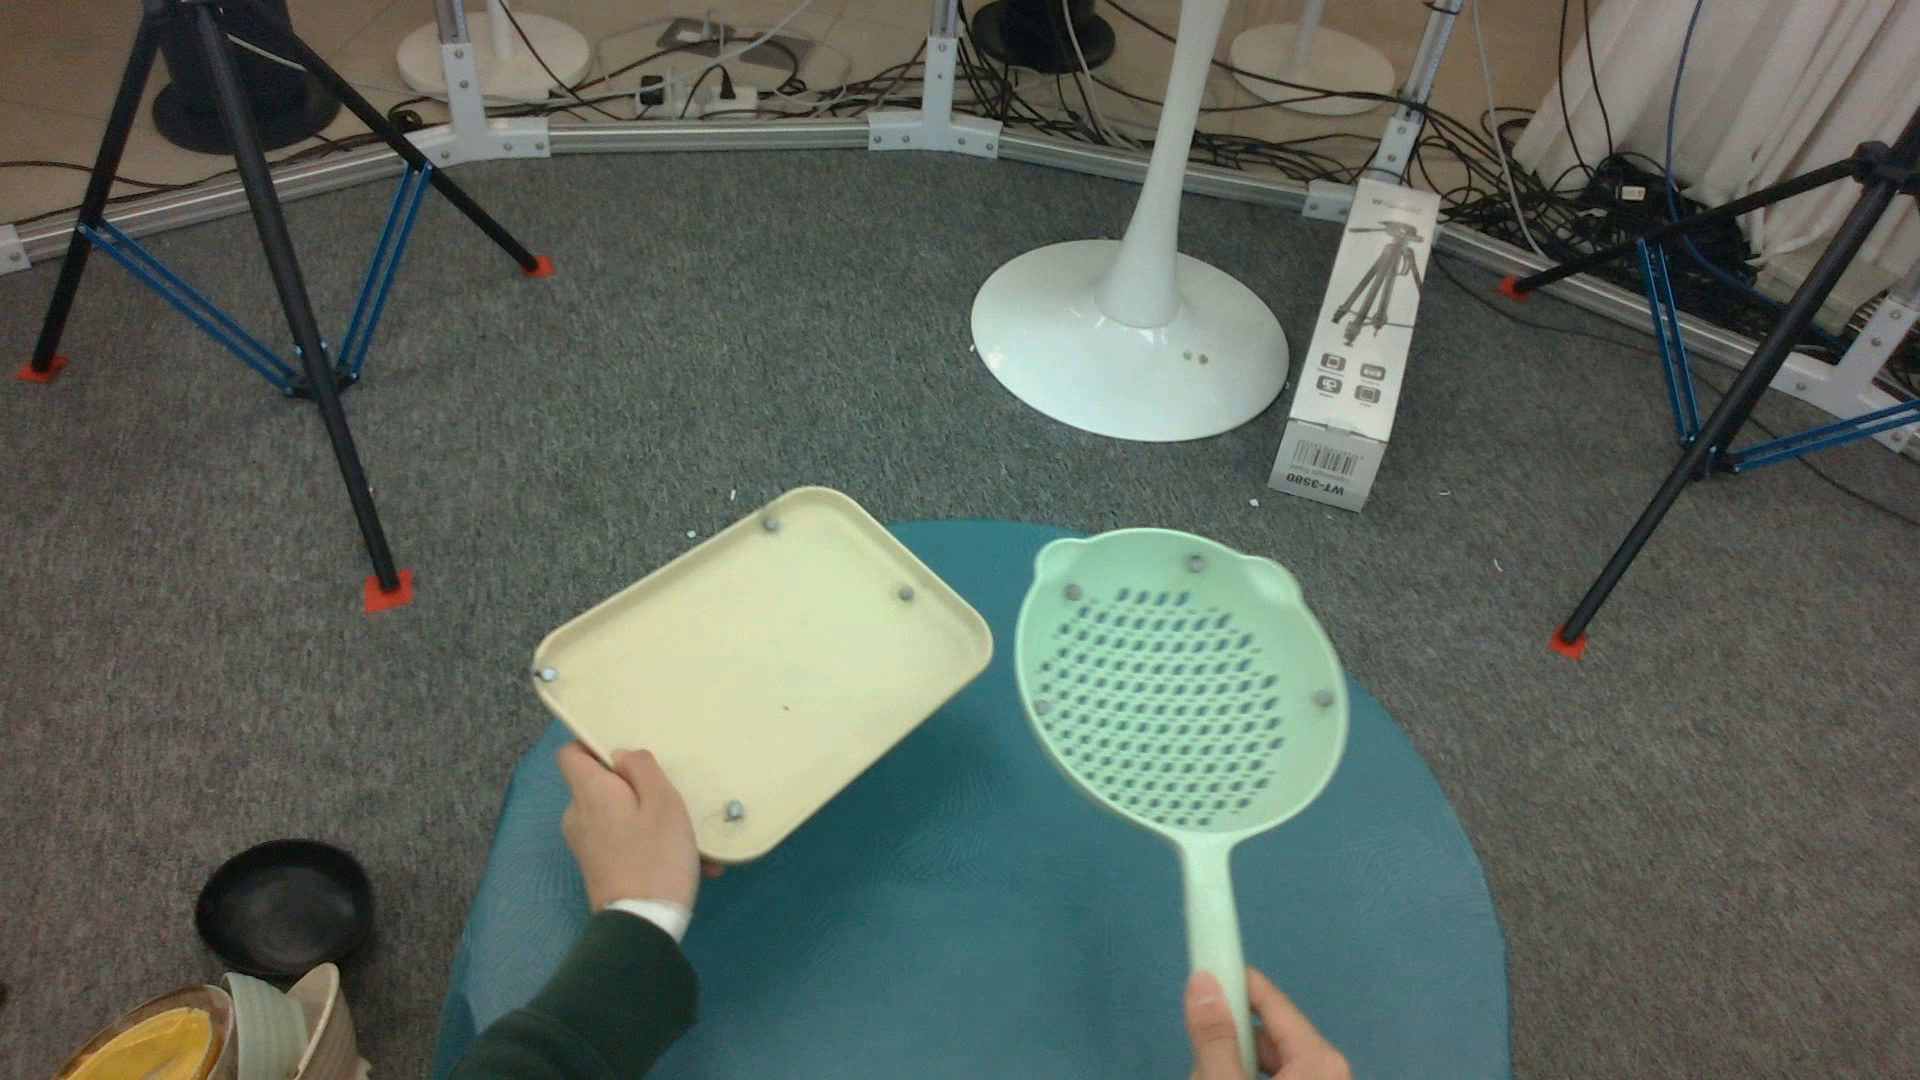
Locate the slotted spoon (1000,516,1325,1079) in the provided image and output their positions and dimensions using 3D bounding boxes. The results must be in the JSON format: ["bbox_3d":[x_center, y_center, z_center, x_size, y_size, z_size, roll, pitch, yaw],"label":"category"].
[{"bbox_3d":[0.101,0.148,0.640,0.169,0.075,0.360,5,49,-10],"label":"slotted spoon"}]

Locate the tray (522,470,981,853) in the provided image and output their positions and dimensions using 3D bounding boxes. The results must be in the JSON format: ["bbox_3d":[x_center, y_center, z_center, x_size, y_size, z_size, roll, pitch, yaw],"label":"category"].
[{"bbox_3d":[-0.111,0.060,0.785,0.171,0.017,0.241,41,48,13],"label":"tray"}]
